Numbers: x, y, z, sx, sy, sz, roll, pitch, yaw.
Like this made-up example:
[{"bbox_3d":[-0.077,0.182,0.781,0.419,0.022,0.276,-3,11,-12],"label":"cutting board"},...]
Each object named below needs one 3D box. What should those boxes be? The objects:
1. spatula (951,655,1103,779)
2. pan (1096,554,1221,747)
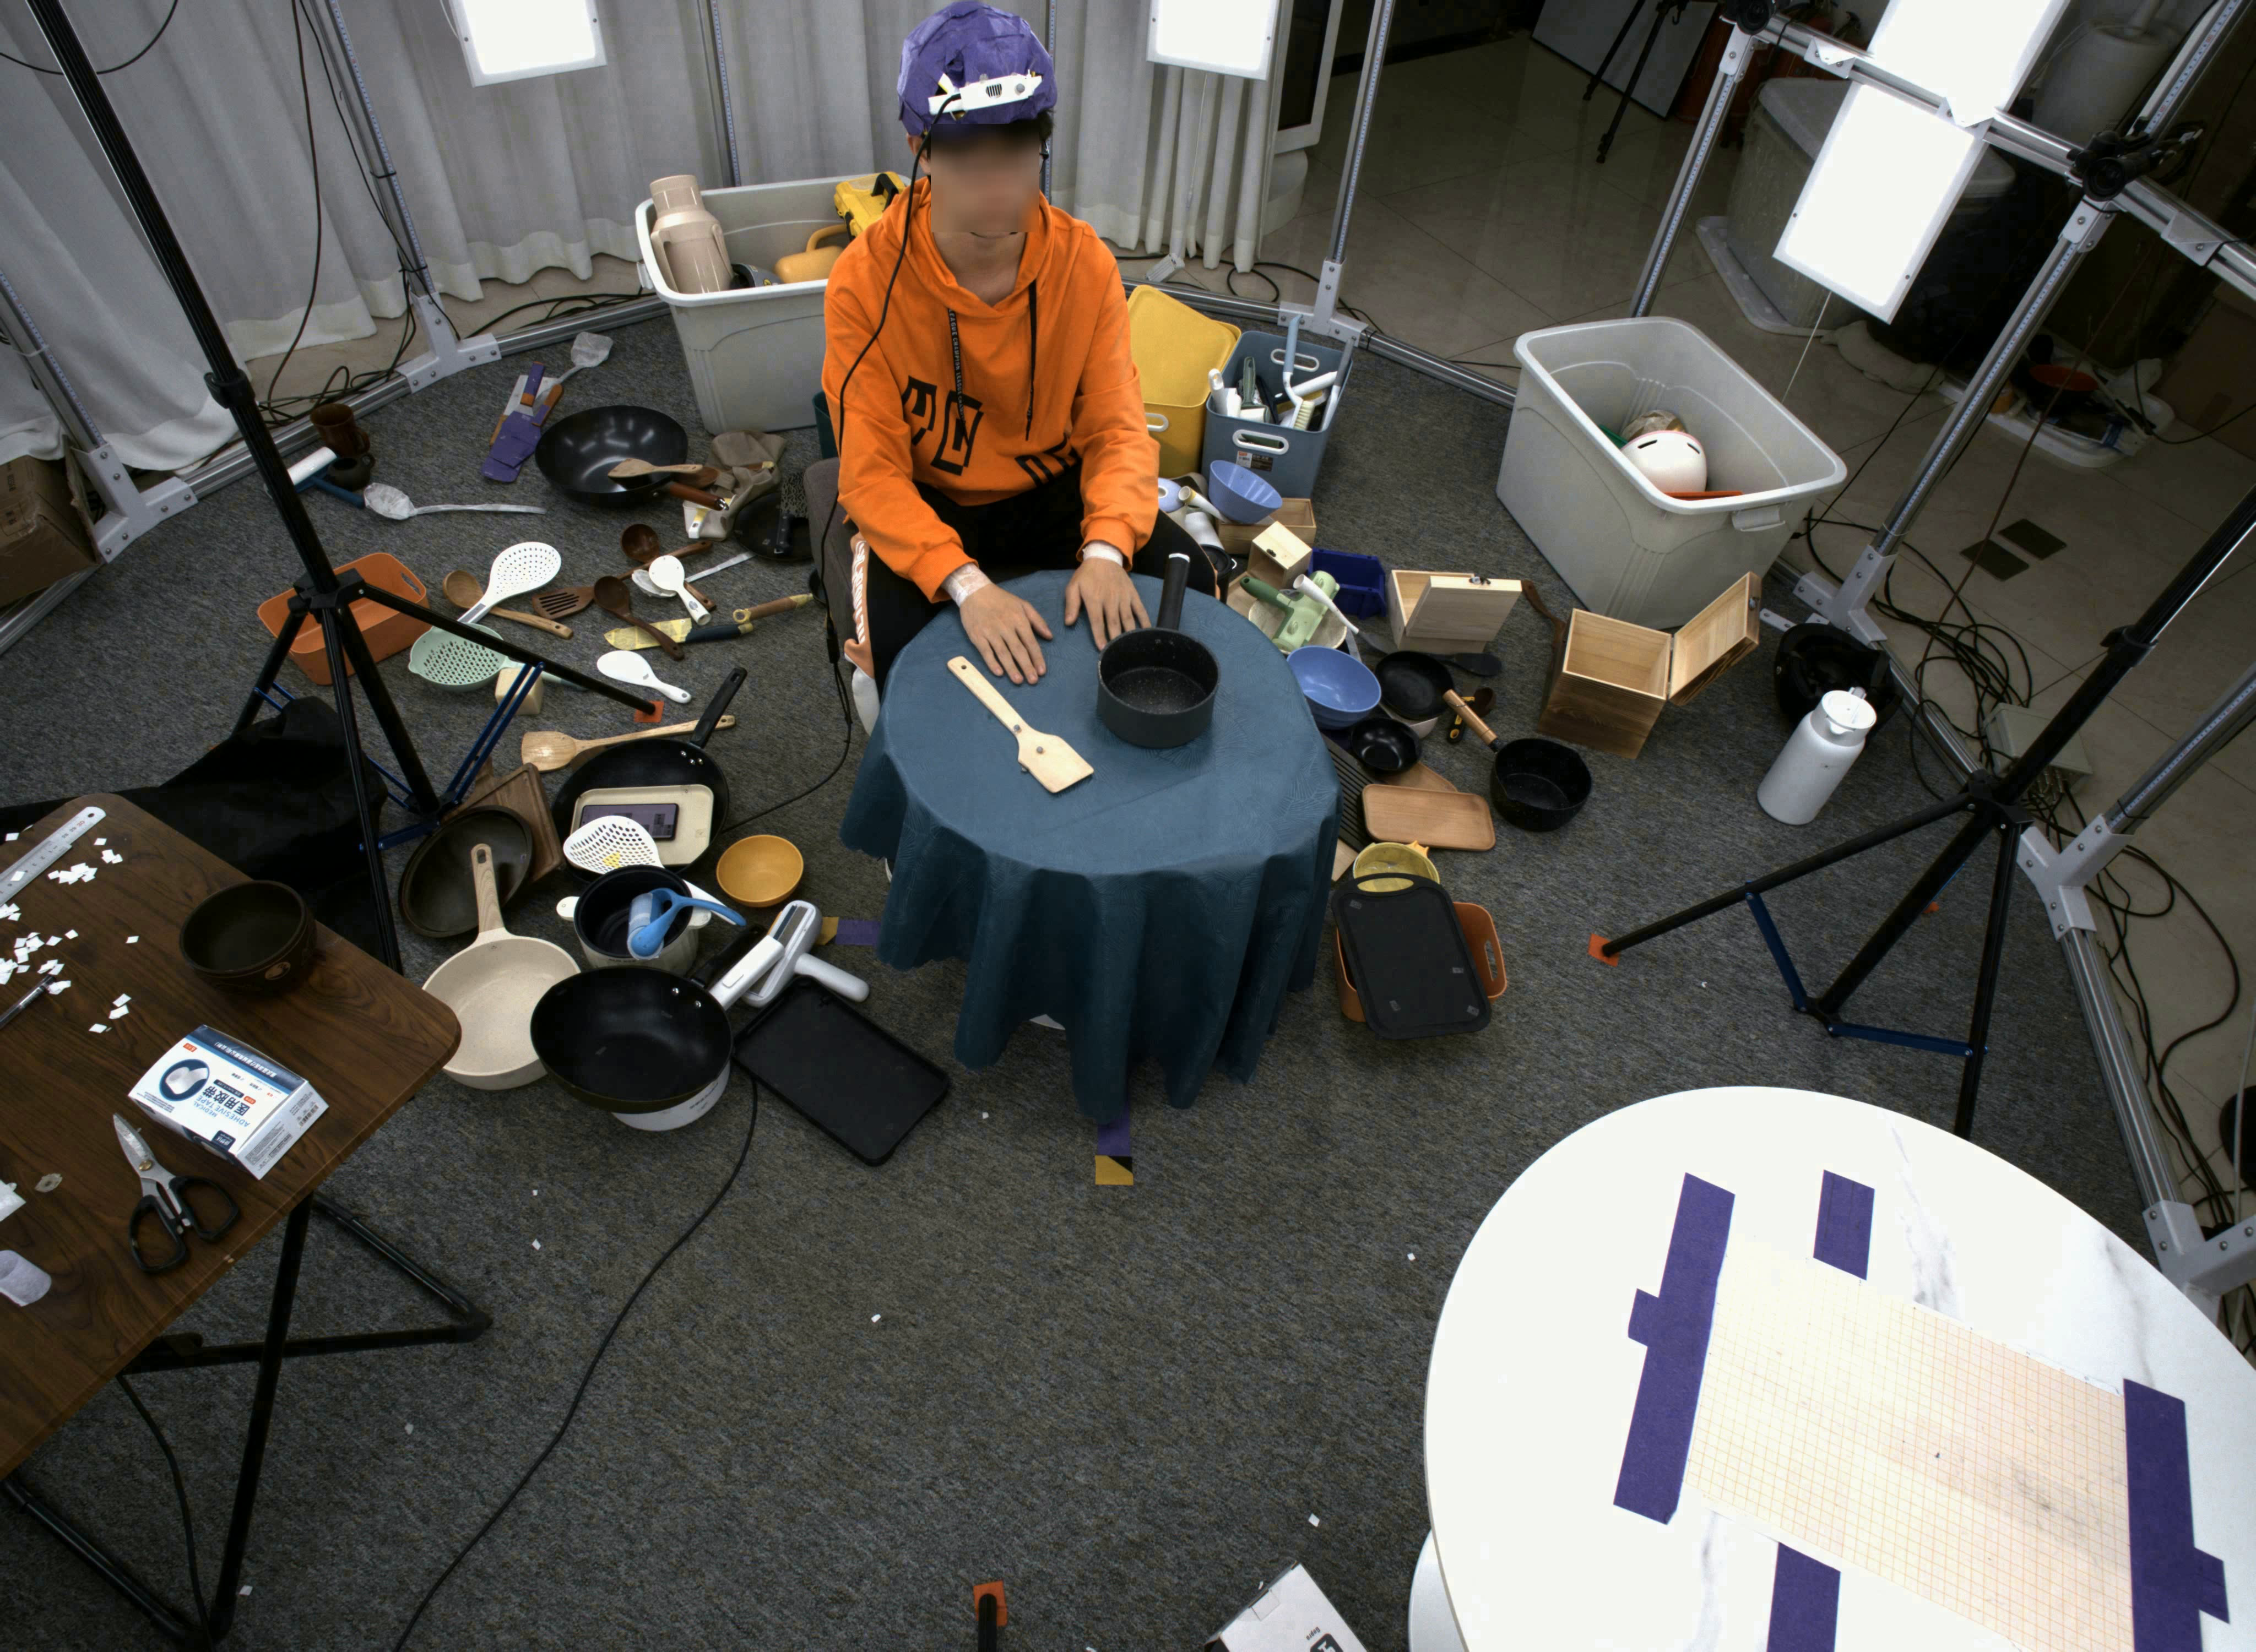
[{"bbox_3d":[-0.152,-0.157,1.776,0.072,0.010,0.298,-26,53,-33],"label":"spatula"},{"bbox_3d":[0.055,-0.254,1.839,0.172,0.084,0.336,11,51,4],"label":"pan"}]
